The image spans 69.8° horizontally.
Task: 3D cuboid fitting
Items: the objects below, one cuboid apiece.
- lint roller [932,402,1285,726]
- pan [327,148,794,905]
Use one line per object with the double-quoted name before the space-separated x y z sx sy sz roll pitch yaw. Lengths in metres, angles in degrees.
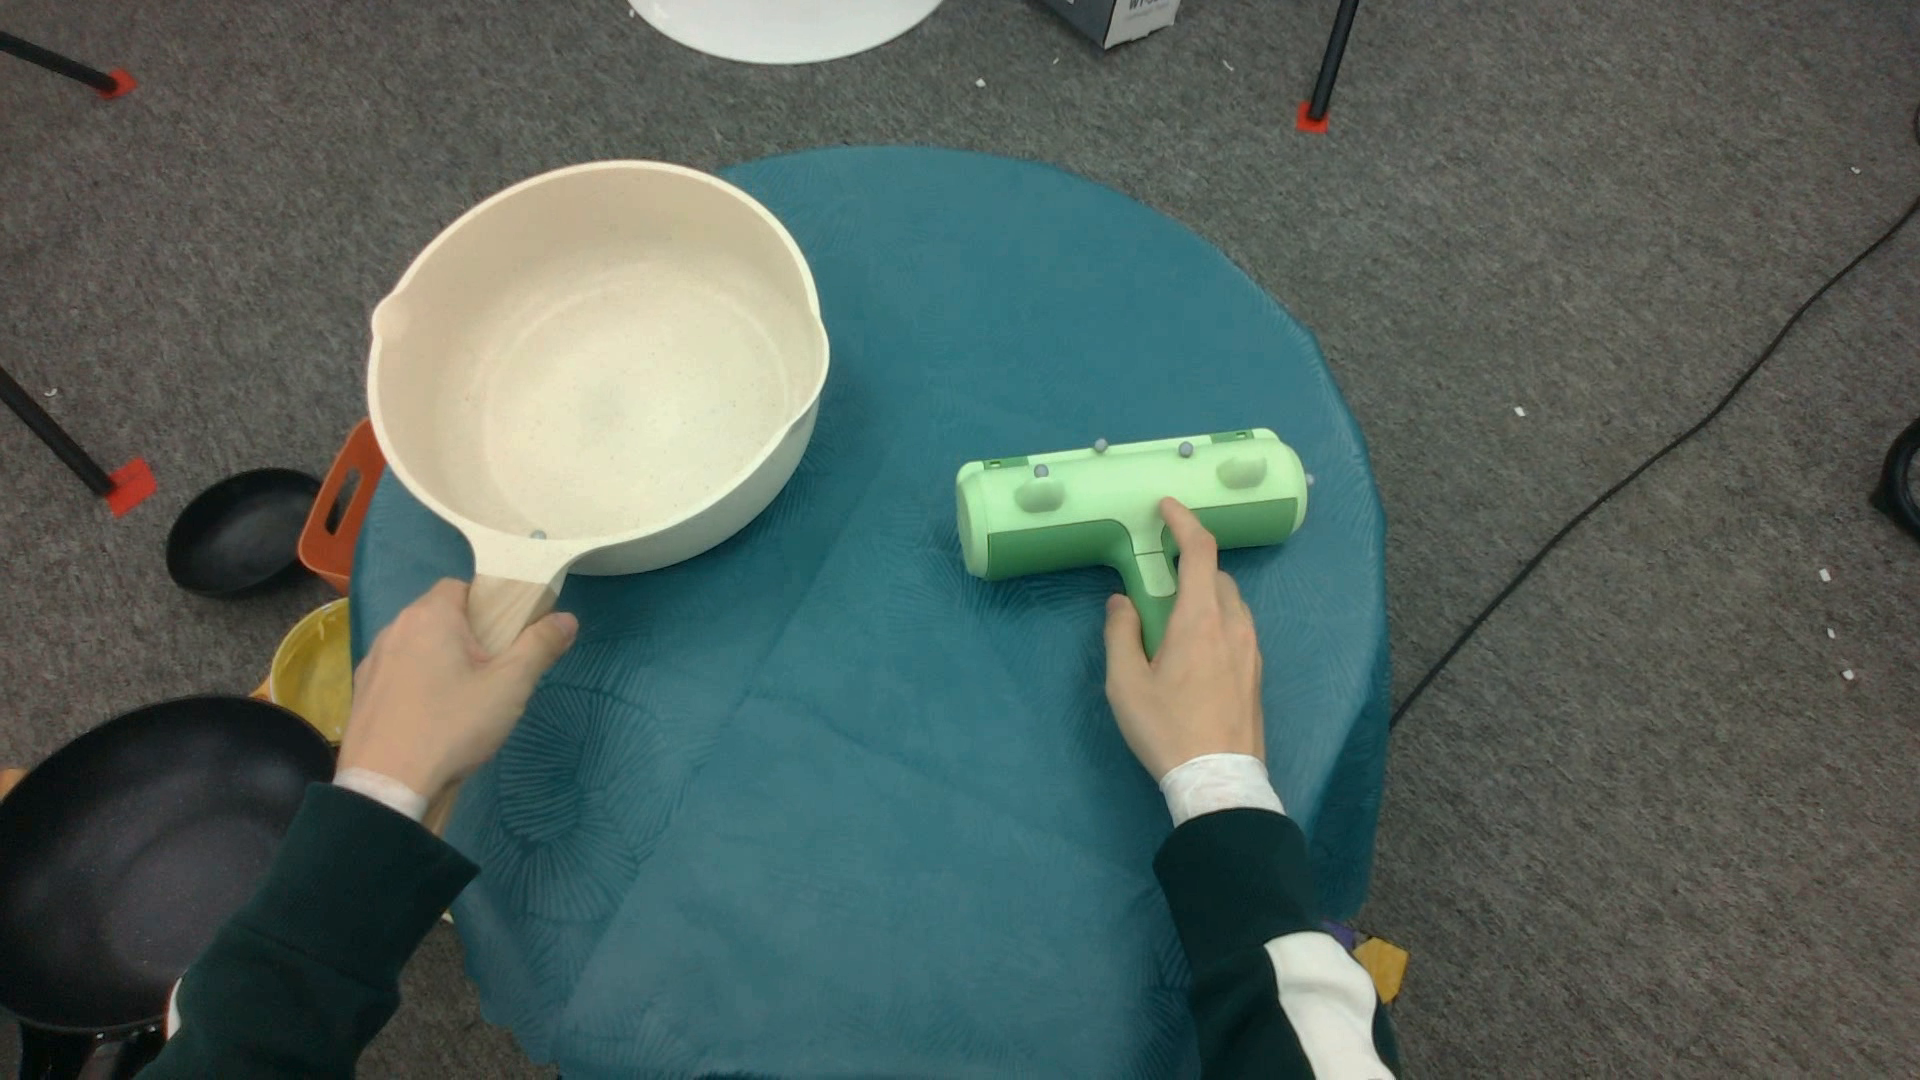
"lint roller" 0.097 0.005 0.743 0.199 0.082 0.184 -9 53 -10
"pan" -0.234 -0.017 0.750 0.263 0.101 0.436 7 67 4
